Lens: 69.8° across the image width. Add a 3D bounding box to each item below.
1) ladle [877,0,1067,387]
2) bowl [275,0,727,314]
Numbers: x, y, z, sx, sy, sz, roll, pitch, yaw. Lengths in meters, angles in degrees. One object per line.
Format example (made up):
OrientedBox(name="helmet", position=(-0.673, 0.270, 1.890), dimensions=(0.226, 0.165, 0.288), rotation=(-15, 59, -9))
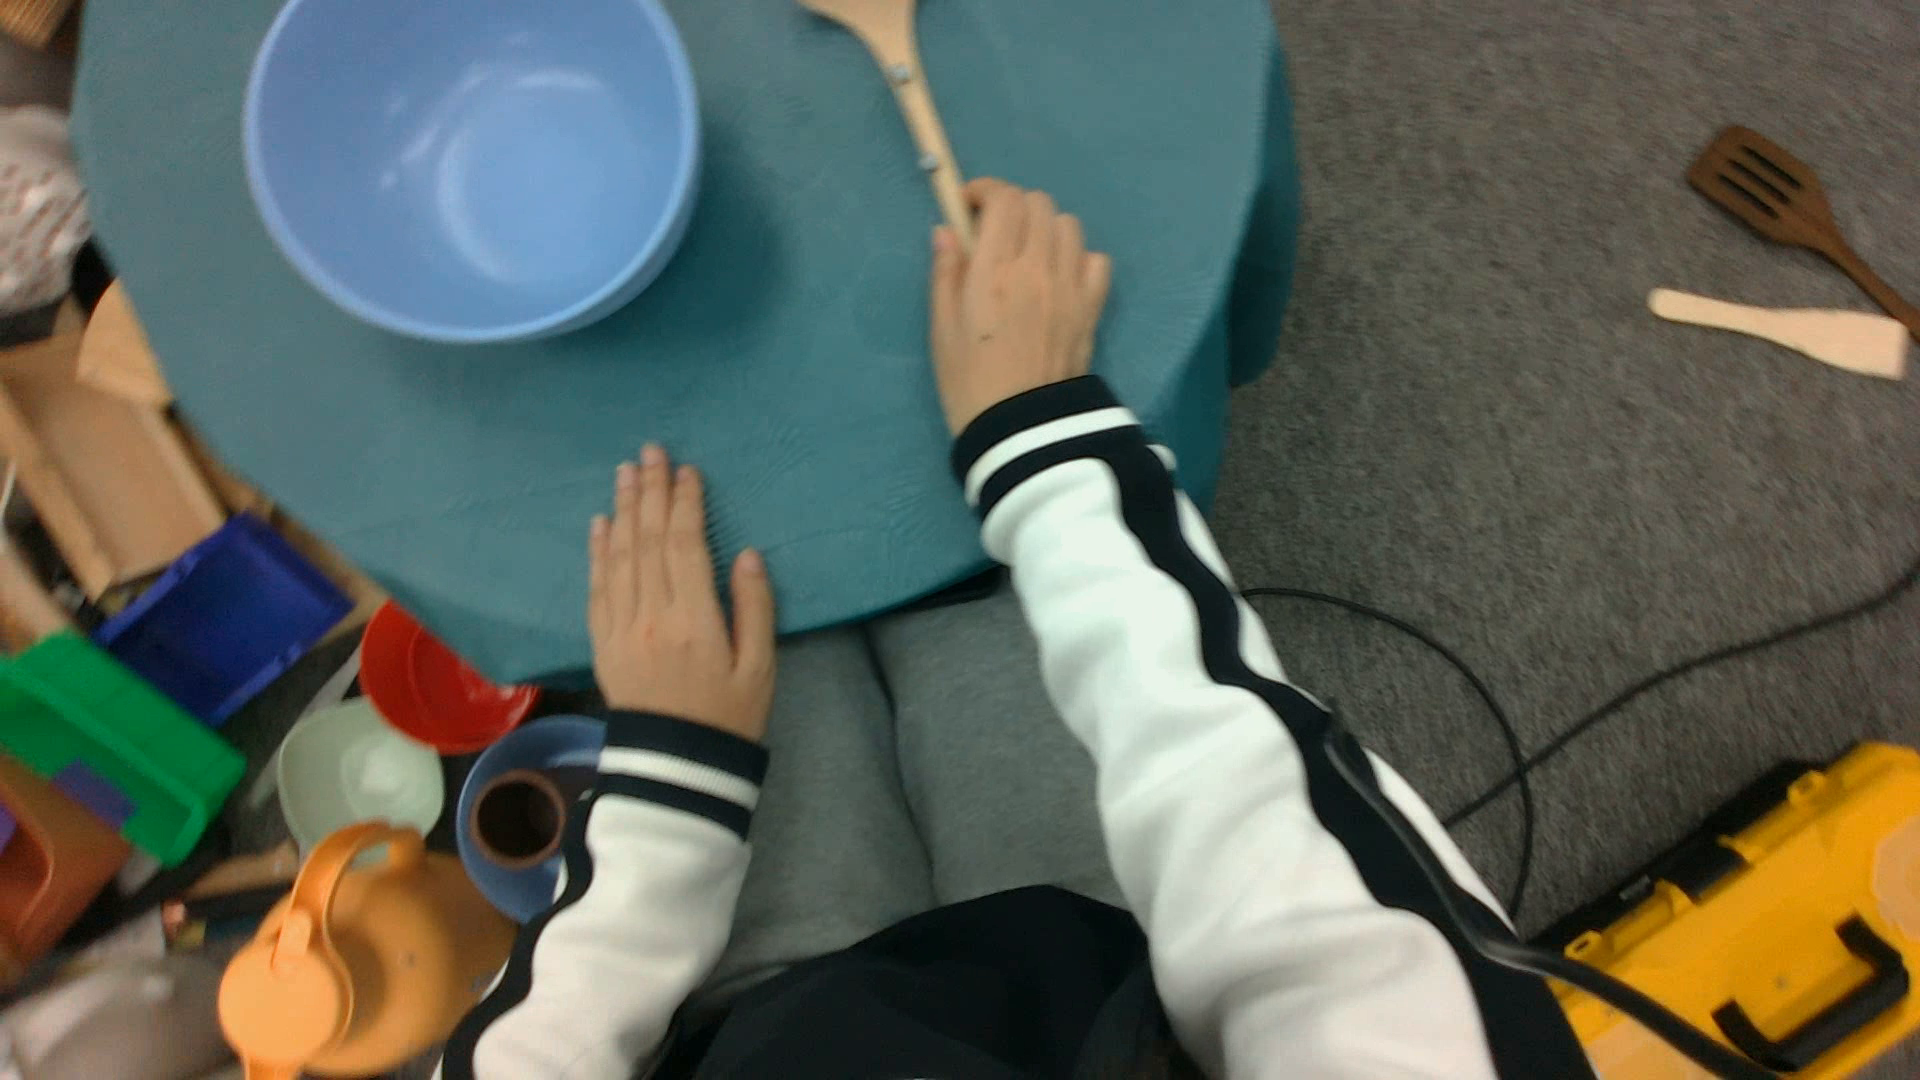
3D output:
OrientedBox(name="ladle", position=(0.002, -0.196, 0.631), dimensions=(0.072, 0.073, 0.254), rotation=(-19, 82, 4))
OrientedBox(name="bowl", position=(-0.193, -0.188, 0.630), dimensions=(0.196, 0.095, 0.196), rotation=(-1, 83, 4))
